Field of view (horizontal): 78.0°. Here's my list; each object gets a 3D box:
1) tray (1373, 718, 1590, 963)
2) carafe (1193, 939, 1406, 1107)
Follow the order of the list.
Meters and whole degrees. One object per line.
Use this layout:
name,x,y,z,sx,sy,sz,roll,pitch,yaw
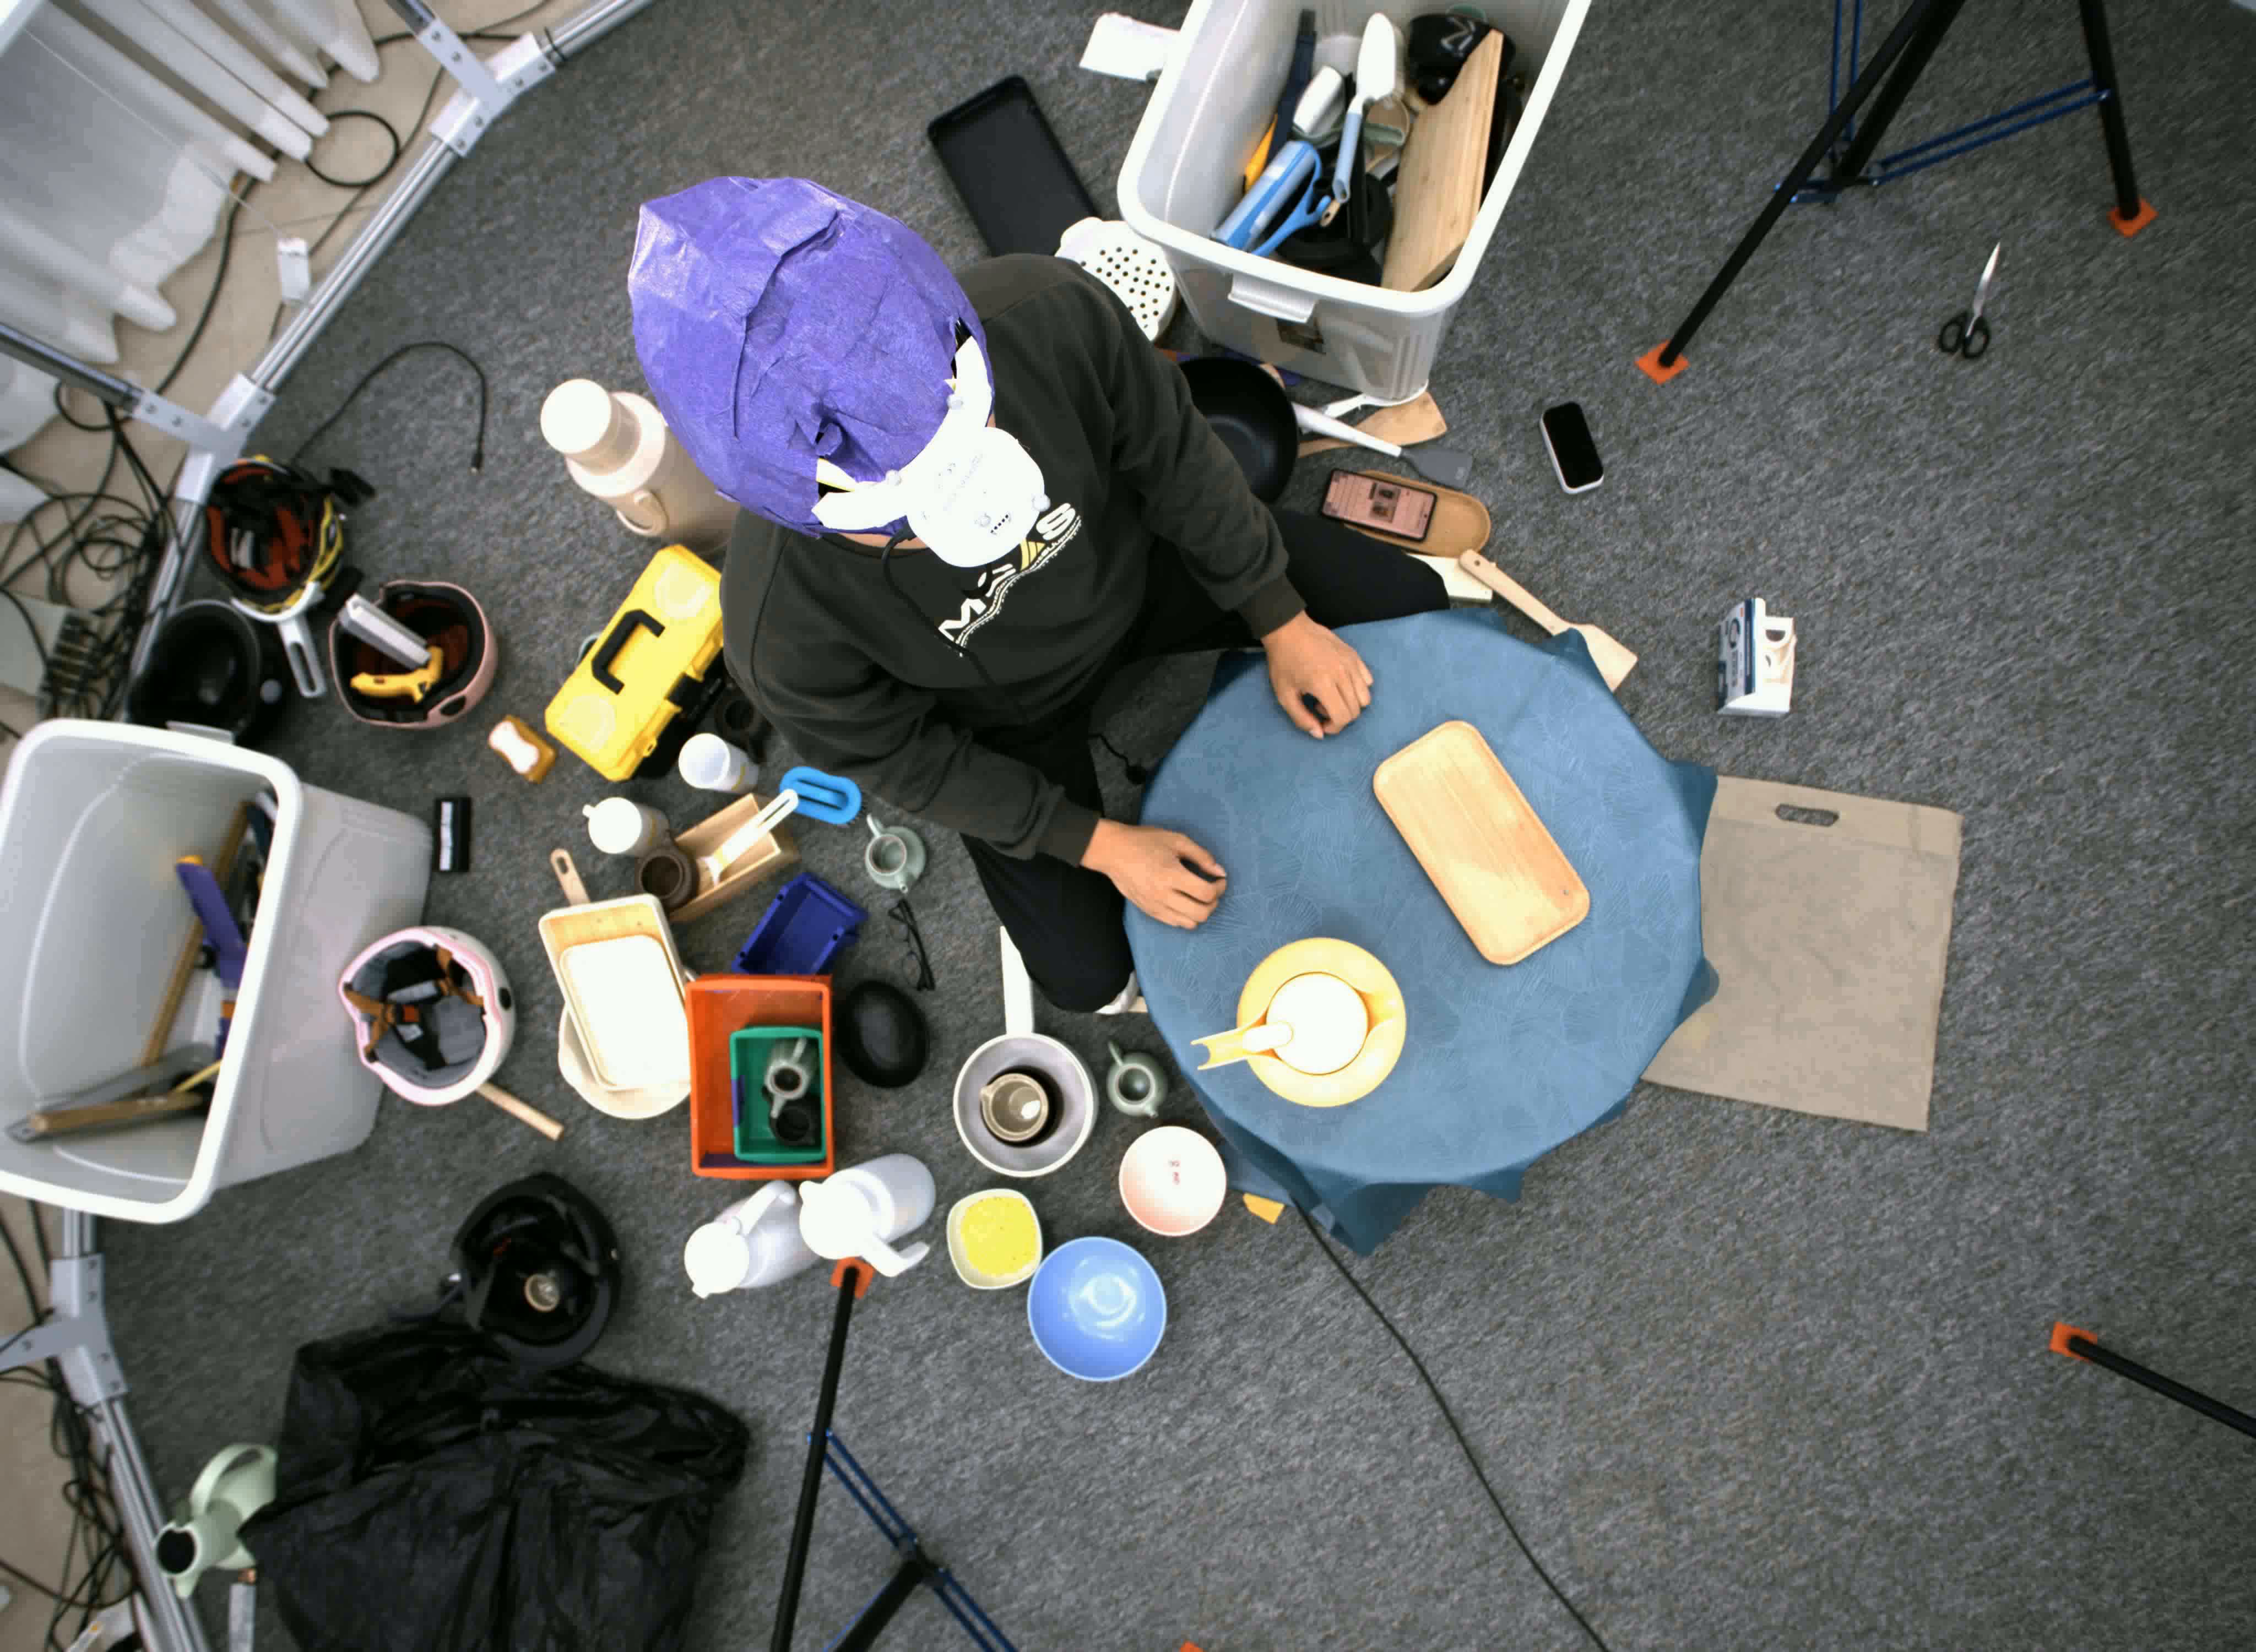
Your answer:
tray,0.367,0.012,1.436,0.131,0.023,0.249,-32,81,5
carafe,0.167,0.192,1.339,0.203,0.261,0.162,-14,79,8
